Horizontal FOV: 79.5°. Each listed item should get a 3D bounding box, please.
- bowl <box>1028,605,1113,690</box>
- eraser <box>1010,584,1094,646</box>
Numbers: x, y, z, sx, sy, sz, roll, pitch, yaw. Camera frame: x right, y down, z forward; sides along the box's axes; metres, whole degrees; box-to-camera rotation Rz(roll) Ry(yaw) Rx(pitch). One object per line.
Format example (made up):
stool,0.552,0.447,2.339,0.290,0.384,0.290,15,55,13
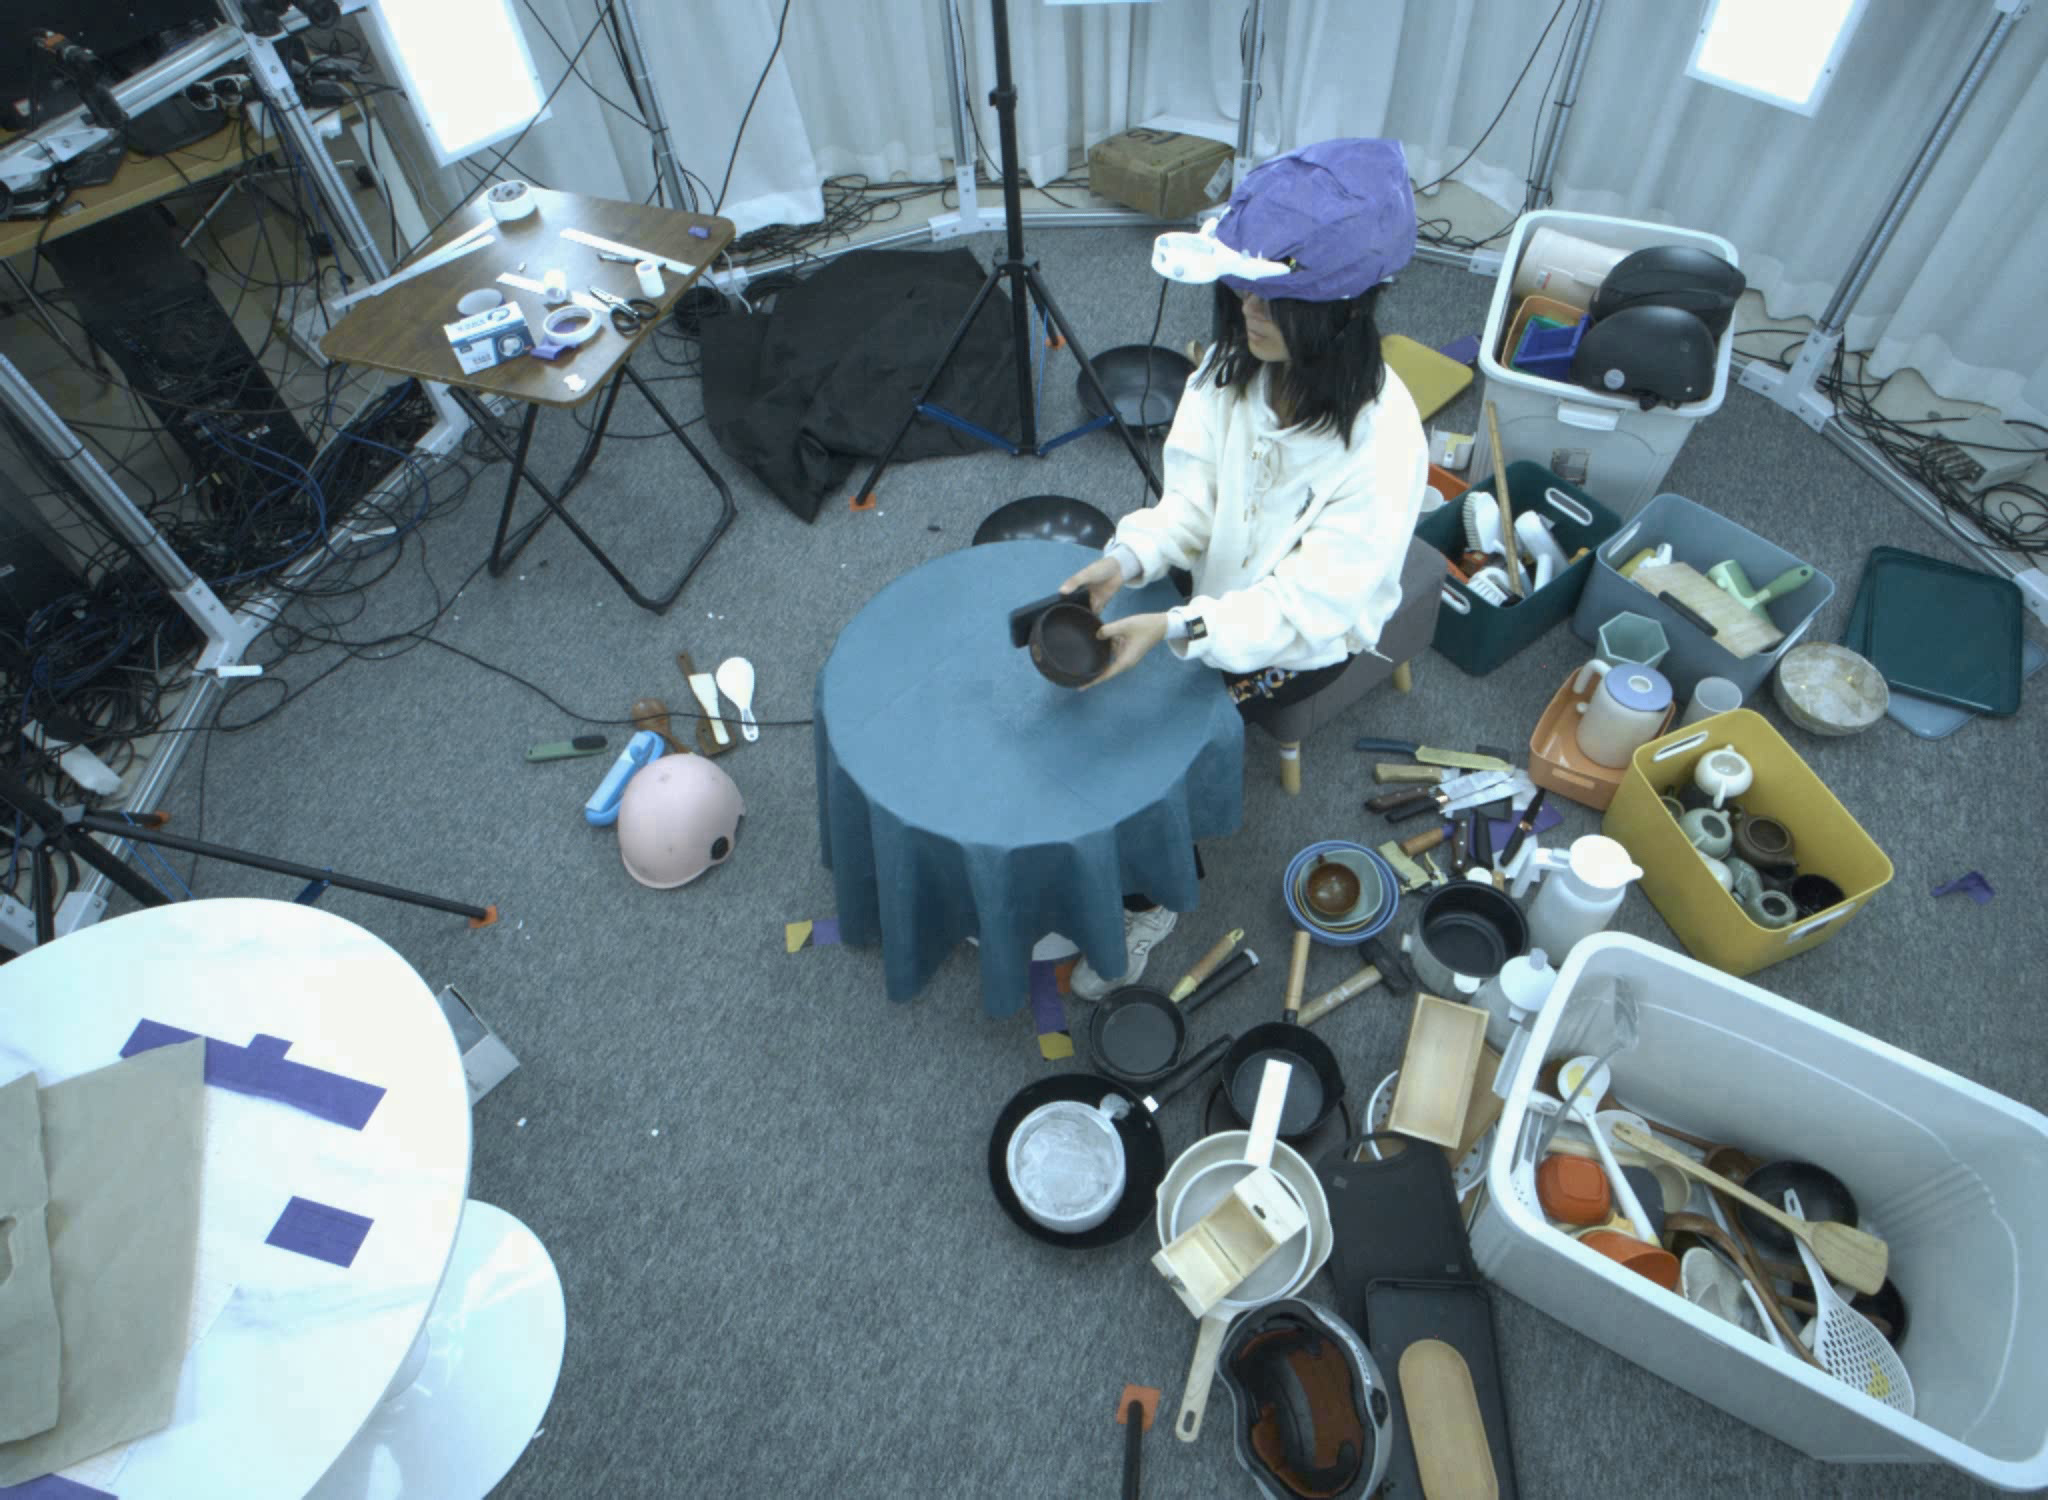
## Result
bowl,0.058,-0.138,1.728,0.120,0.069,0.117,12,63,-23
eraser,0.040,-0.194,1.761,0.126,0.054,0.030,-22,46,-17
